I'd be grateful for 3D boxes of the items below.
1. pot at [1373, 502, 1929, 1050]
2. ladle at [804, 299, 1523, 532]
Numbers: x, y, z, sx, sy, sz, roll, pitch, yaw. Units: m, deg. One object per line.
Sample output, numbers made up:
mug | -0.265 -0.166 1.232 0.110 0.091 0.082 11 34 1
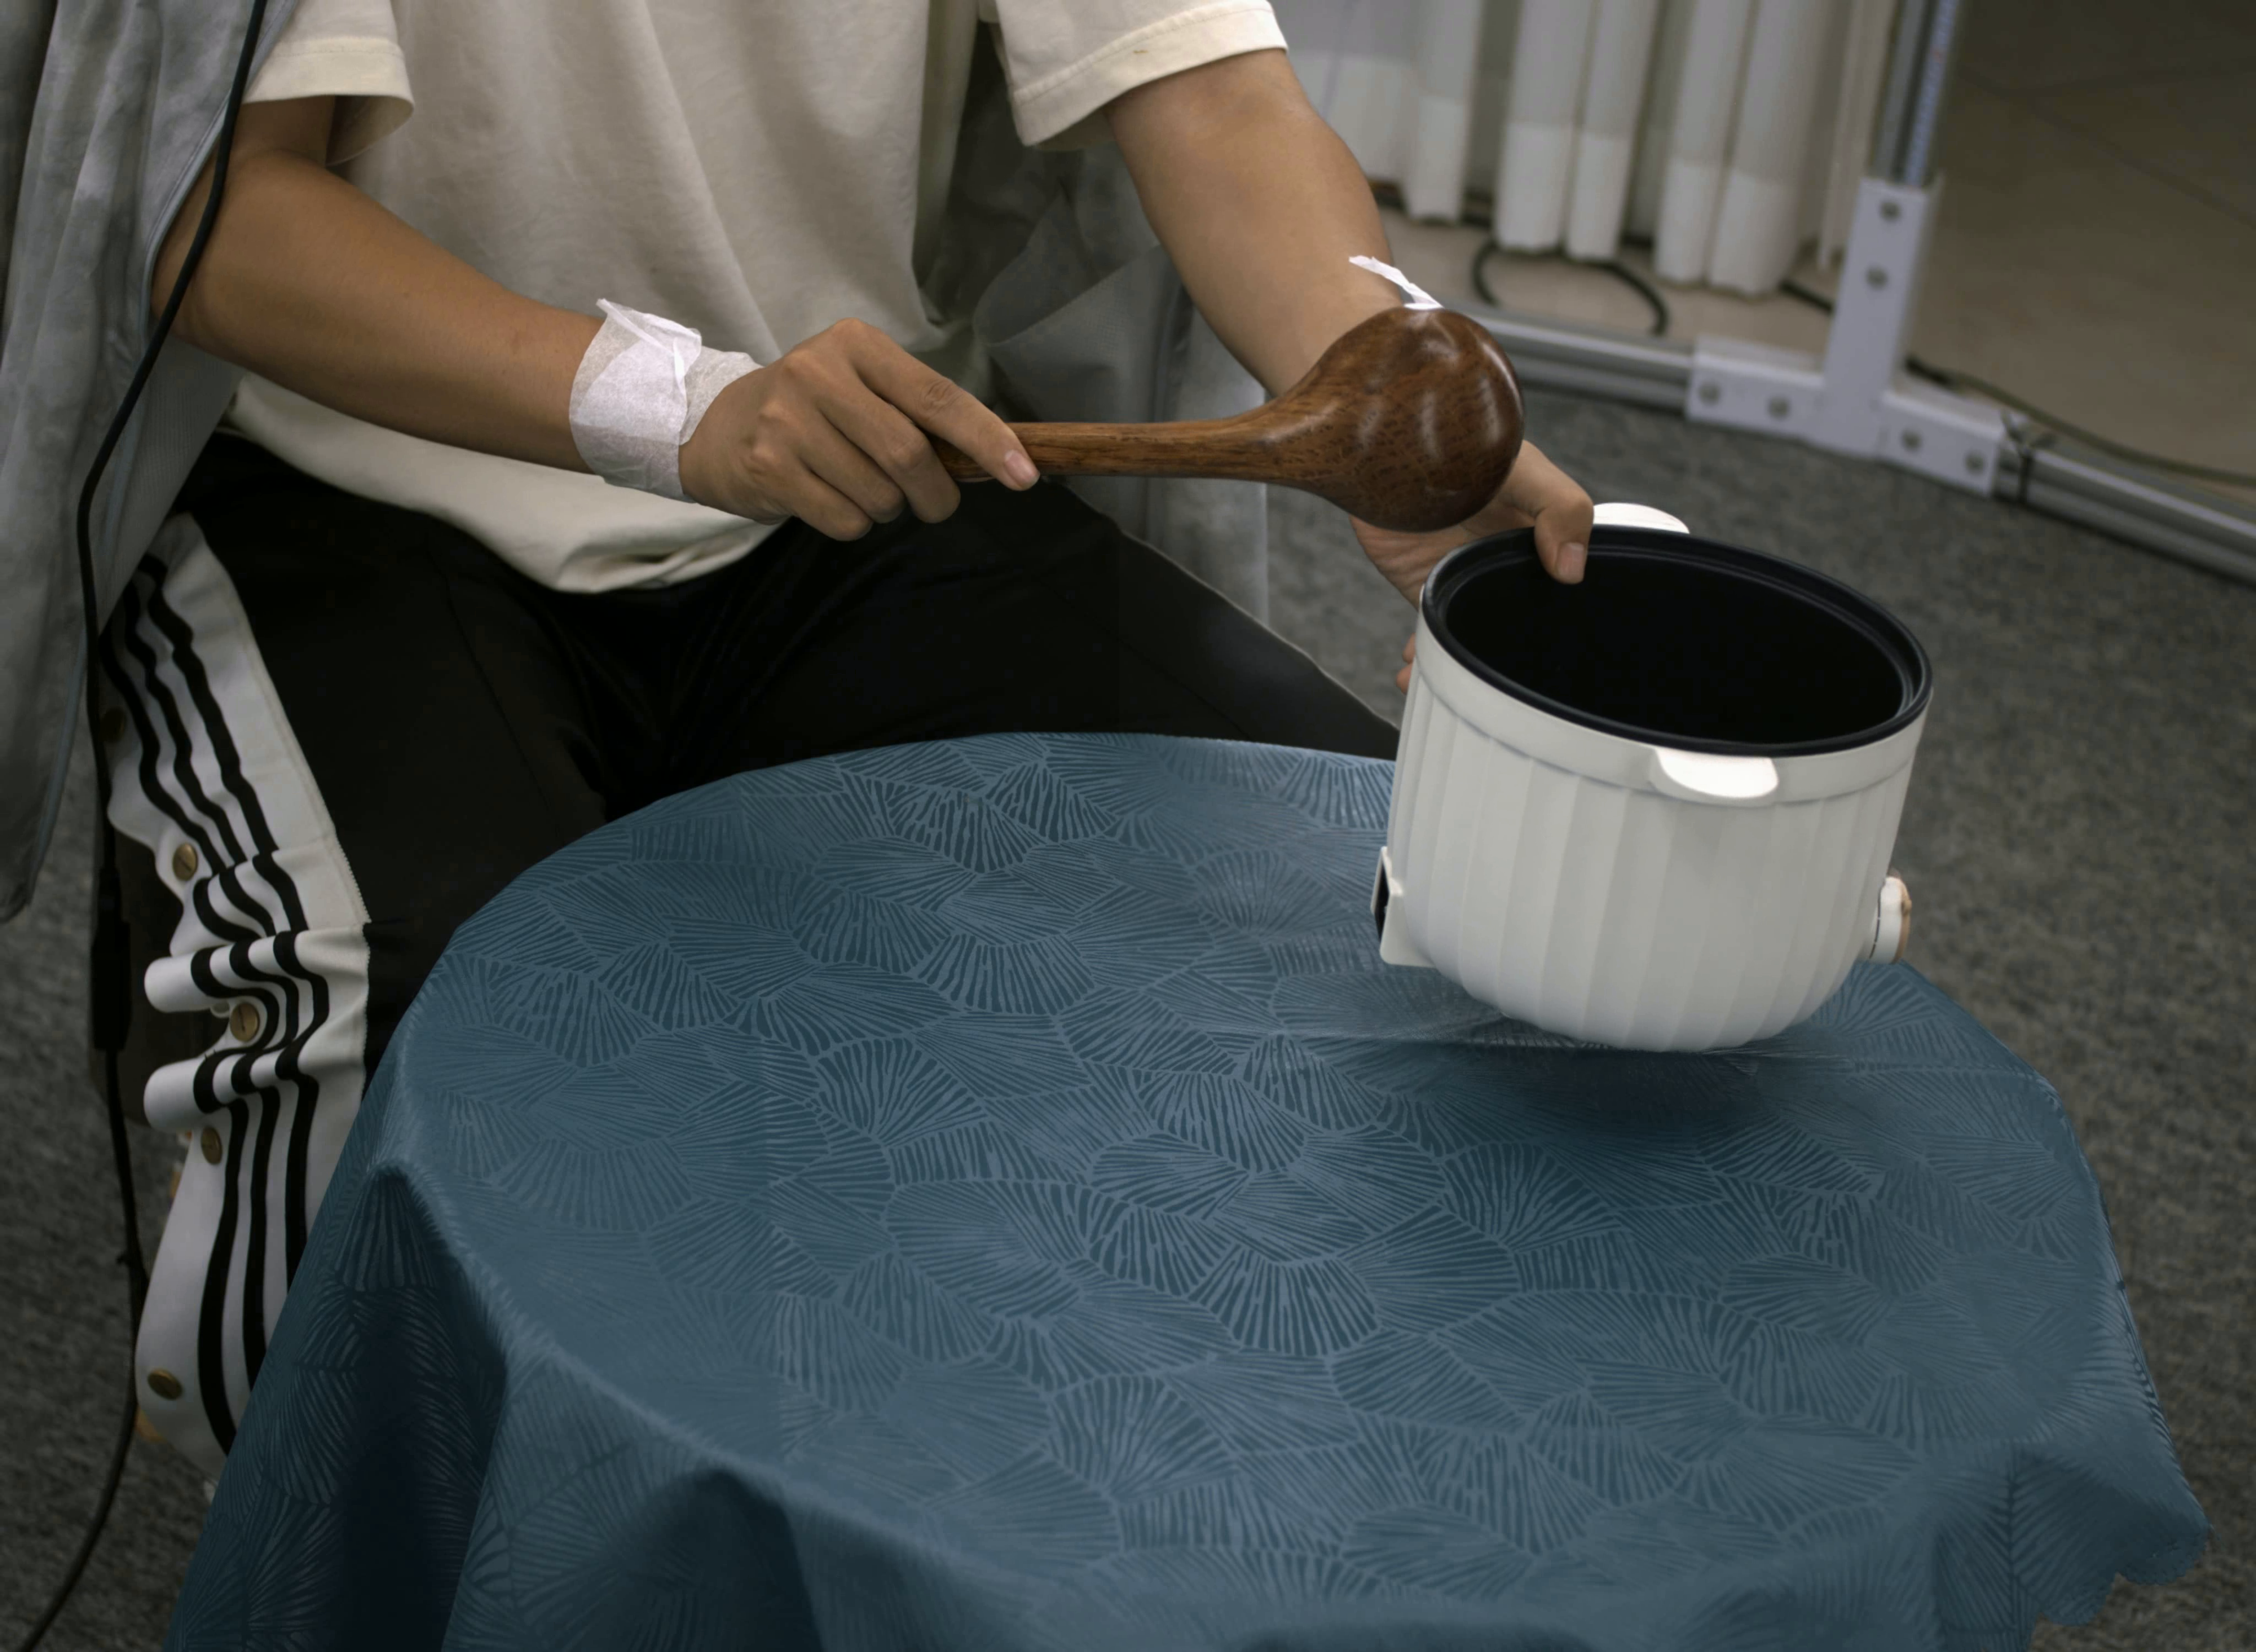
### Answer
pot | 0.188 -0.010 1.891 0.190 0.142 0.242 2 28 -5
ladle | 0.012 -0.142 1.927 0.275 0.082 0.076 -1 13 34
